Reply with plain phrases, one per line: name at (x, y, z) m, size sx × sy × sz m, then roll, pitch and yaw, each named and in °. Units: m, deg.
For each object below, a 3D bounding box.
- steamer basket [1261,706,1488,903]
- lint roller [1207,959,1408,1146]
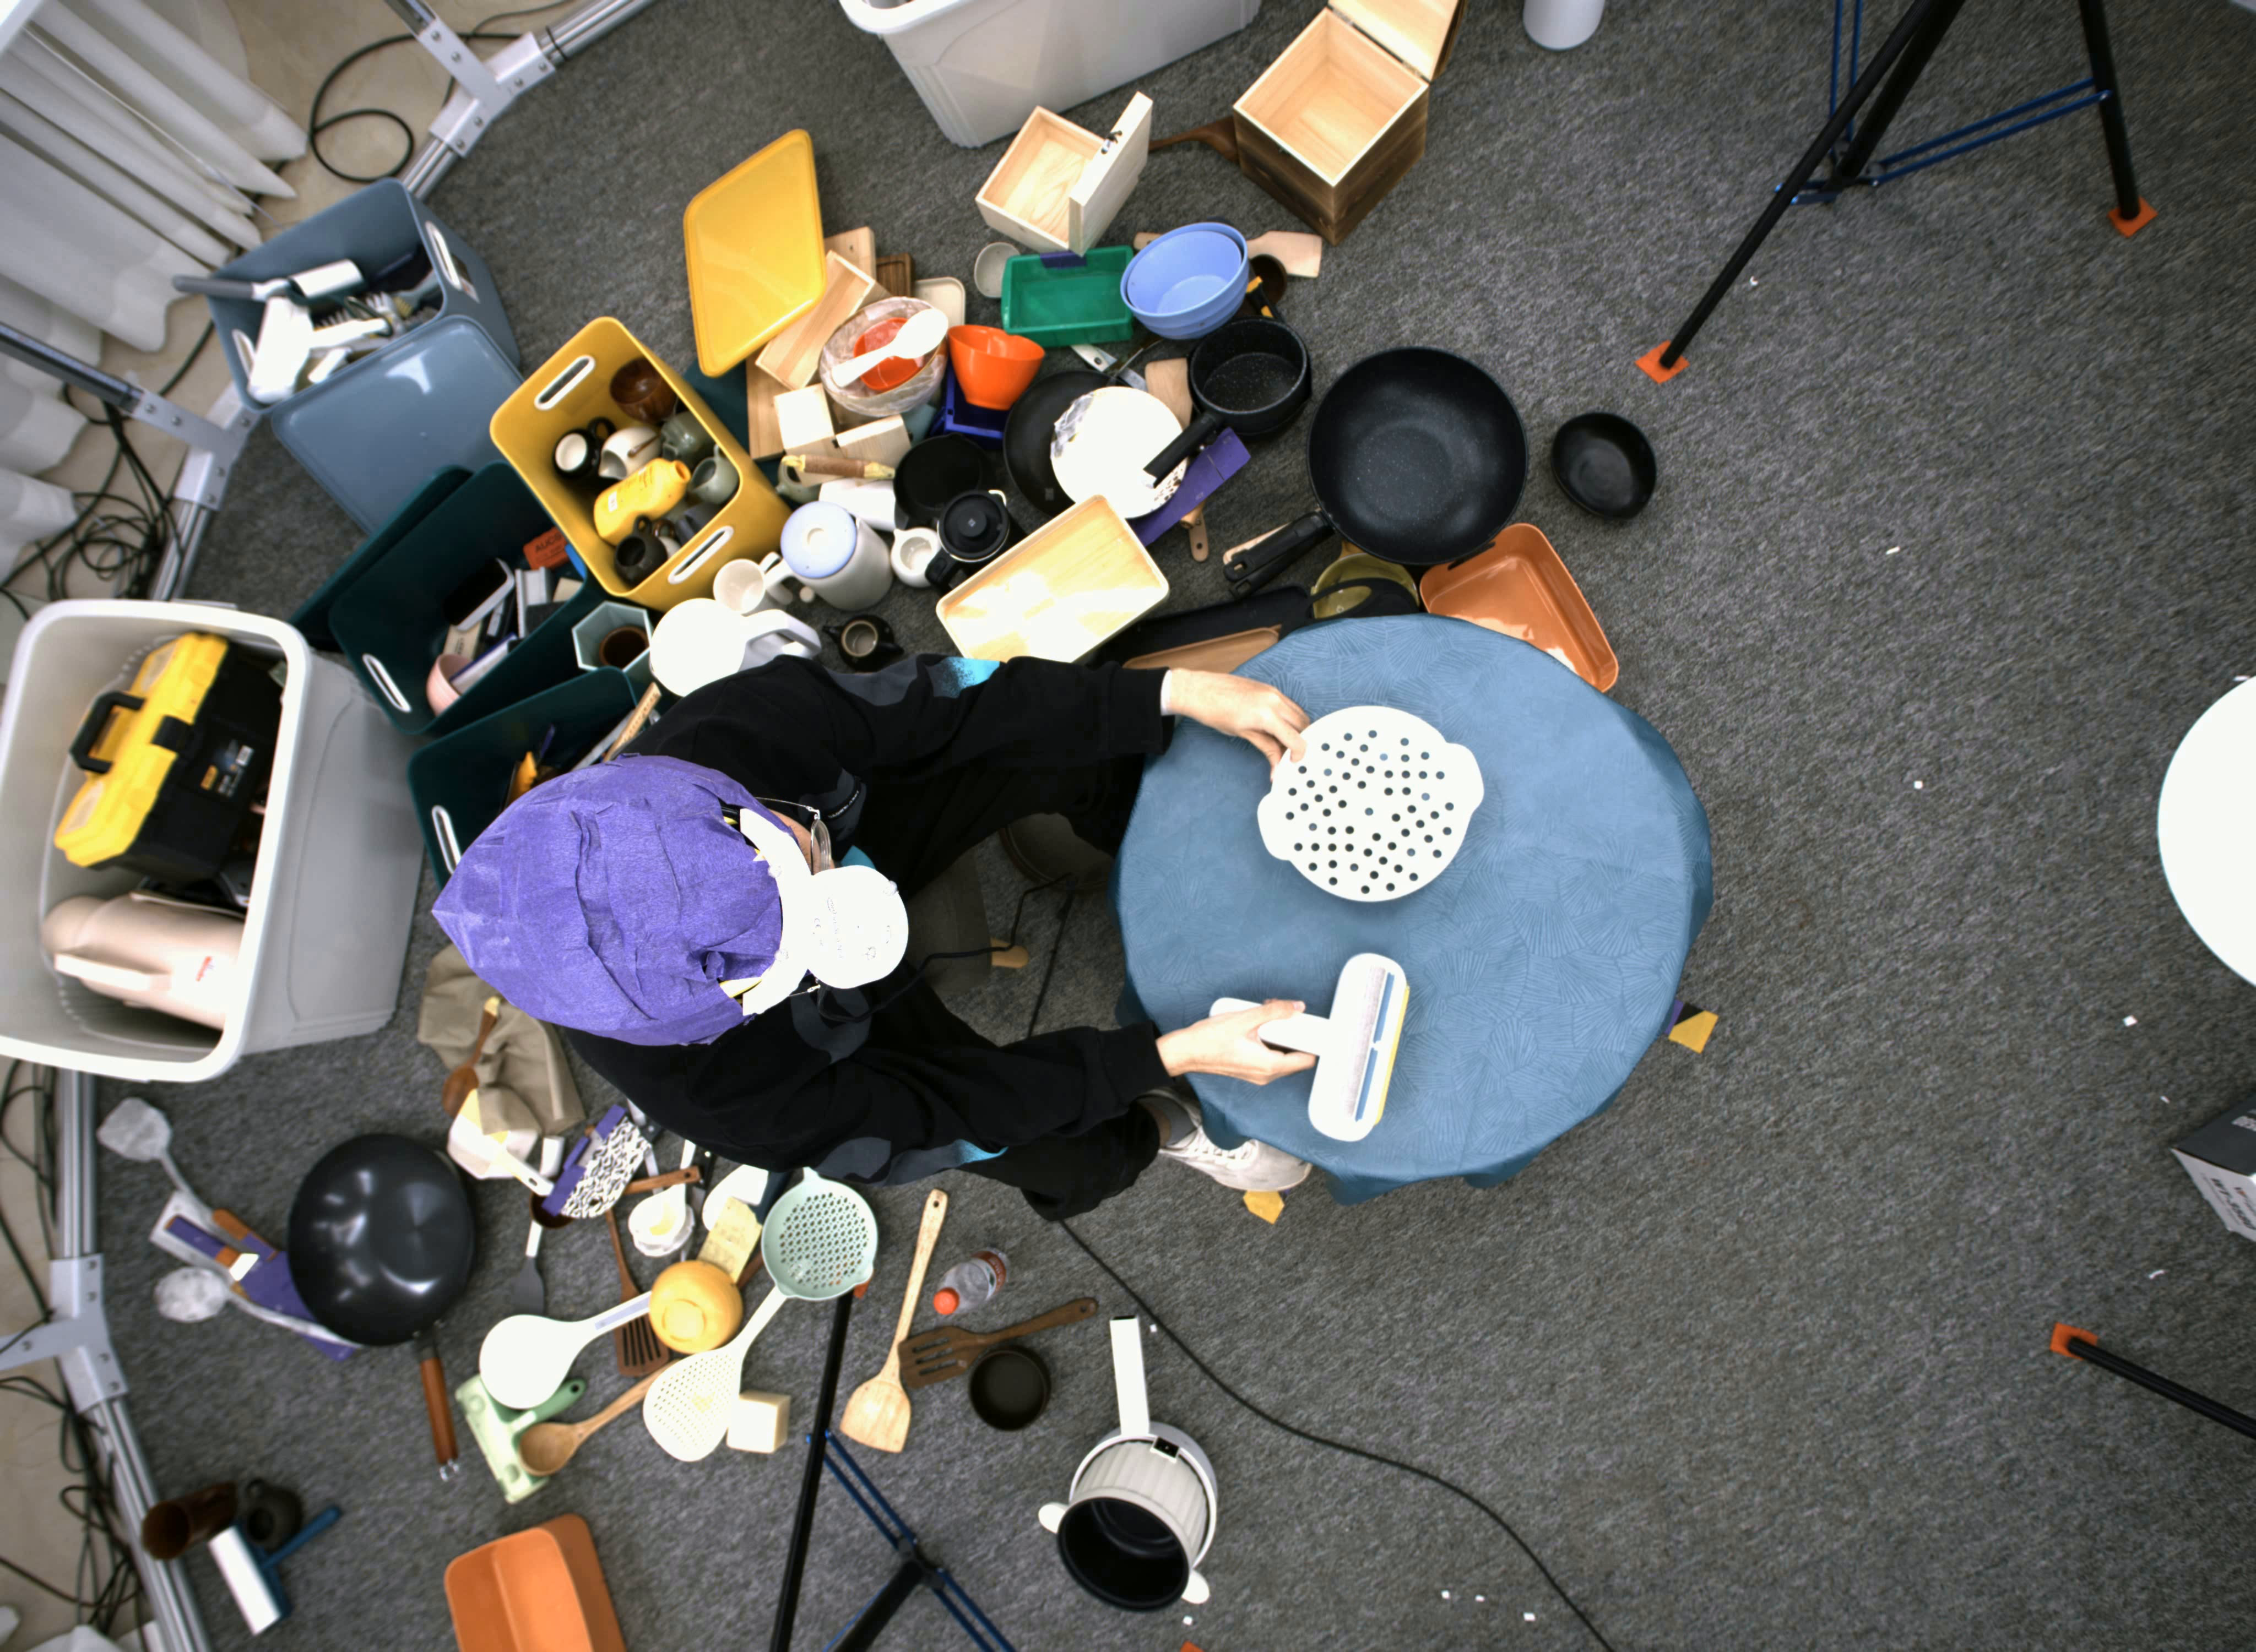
steamer basket at (0.256, -0.021, 1.428) m, size 0.232 × 0.069 × 0.200 m, roll -16°, pitch 80°, yaw 11°
lint roller at (0.174, 0.210, 1.411) m, size 0.192 × 0.075 × 0.190 m, roll 19°, pitch 77°, yaw 3°
